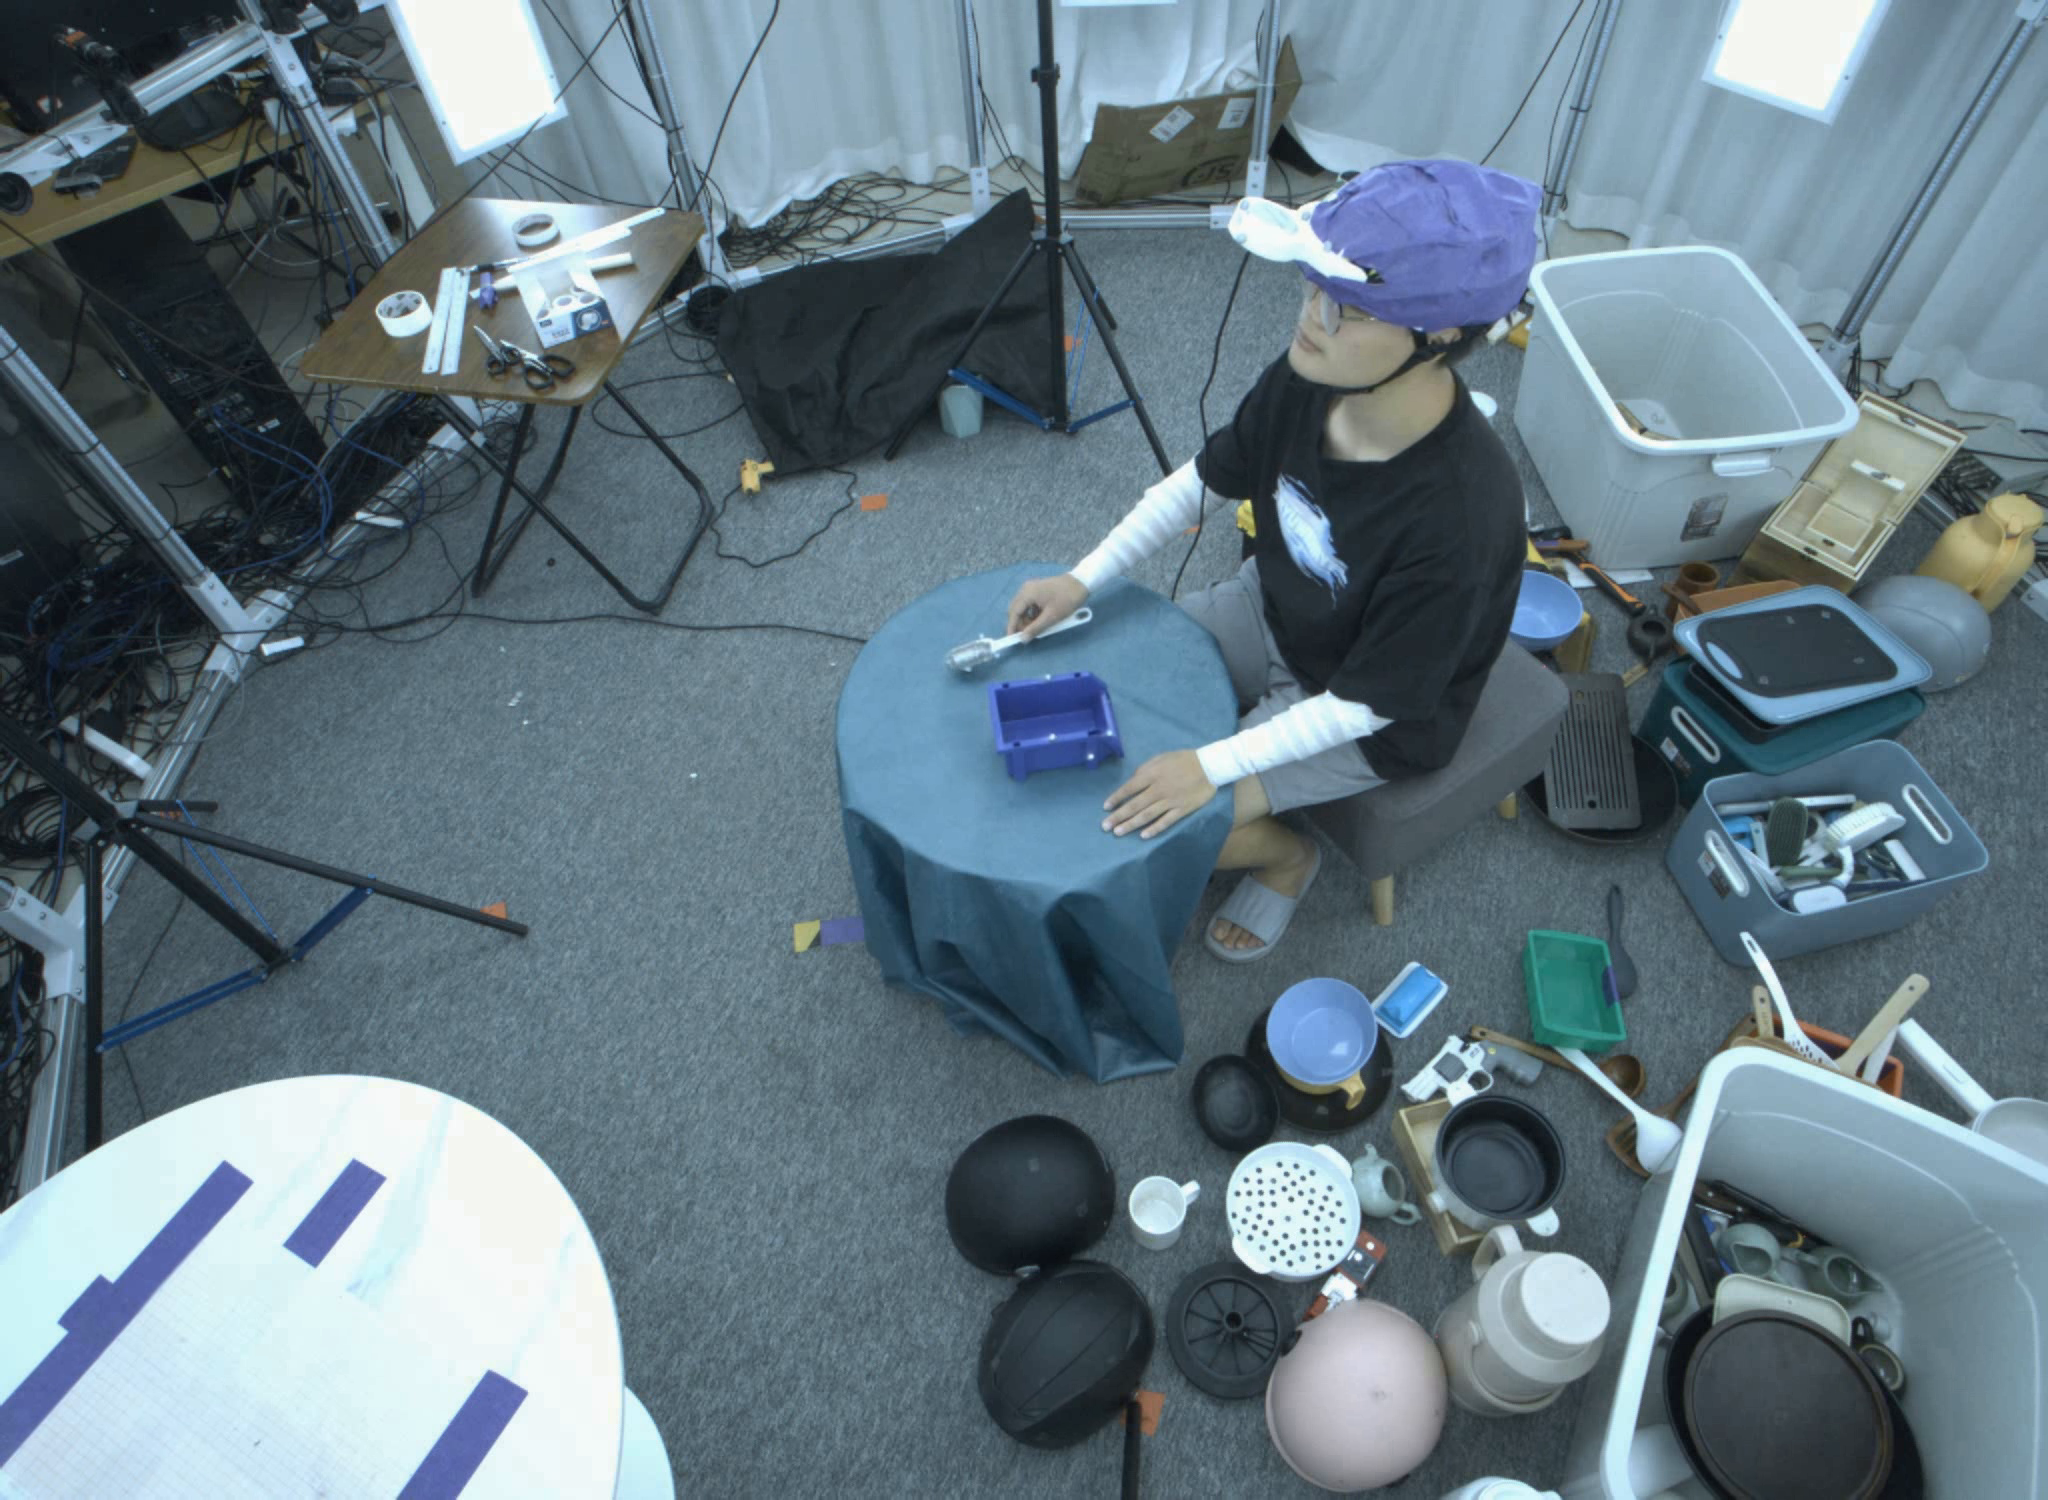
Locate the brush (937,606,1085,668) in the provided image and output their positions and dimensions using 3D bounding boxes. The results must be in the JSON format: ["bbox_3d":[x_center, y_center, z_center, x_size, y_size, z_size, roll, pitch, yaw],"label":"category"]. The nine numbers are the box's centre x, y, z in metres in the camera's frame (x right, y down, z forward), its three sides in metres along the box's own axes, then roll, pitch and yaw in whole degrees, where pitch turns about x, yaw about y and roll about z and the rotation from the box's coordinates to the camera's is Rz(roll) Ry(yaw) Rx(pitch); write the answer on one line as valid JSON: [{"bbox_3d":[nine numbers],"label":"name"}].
[{"bbox_3d":[-0.016,-0.175,1.870,0.245,0.050,0.034,-19,95,-12],"label":"brush"}]

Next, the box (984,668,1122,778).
[{"bbox_3d":[0.041,-0.042,1.757,0.180,0.083,0.123,-9,54,-2],"label":"box"}]
